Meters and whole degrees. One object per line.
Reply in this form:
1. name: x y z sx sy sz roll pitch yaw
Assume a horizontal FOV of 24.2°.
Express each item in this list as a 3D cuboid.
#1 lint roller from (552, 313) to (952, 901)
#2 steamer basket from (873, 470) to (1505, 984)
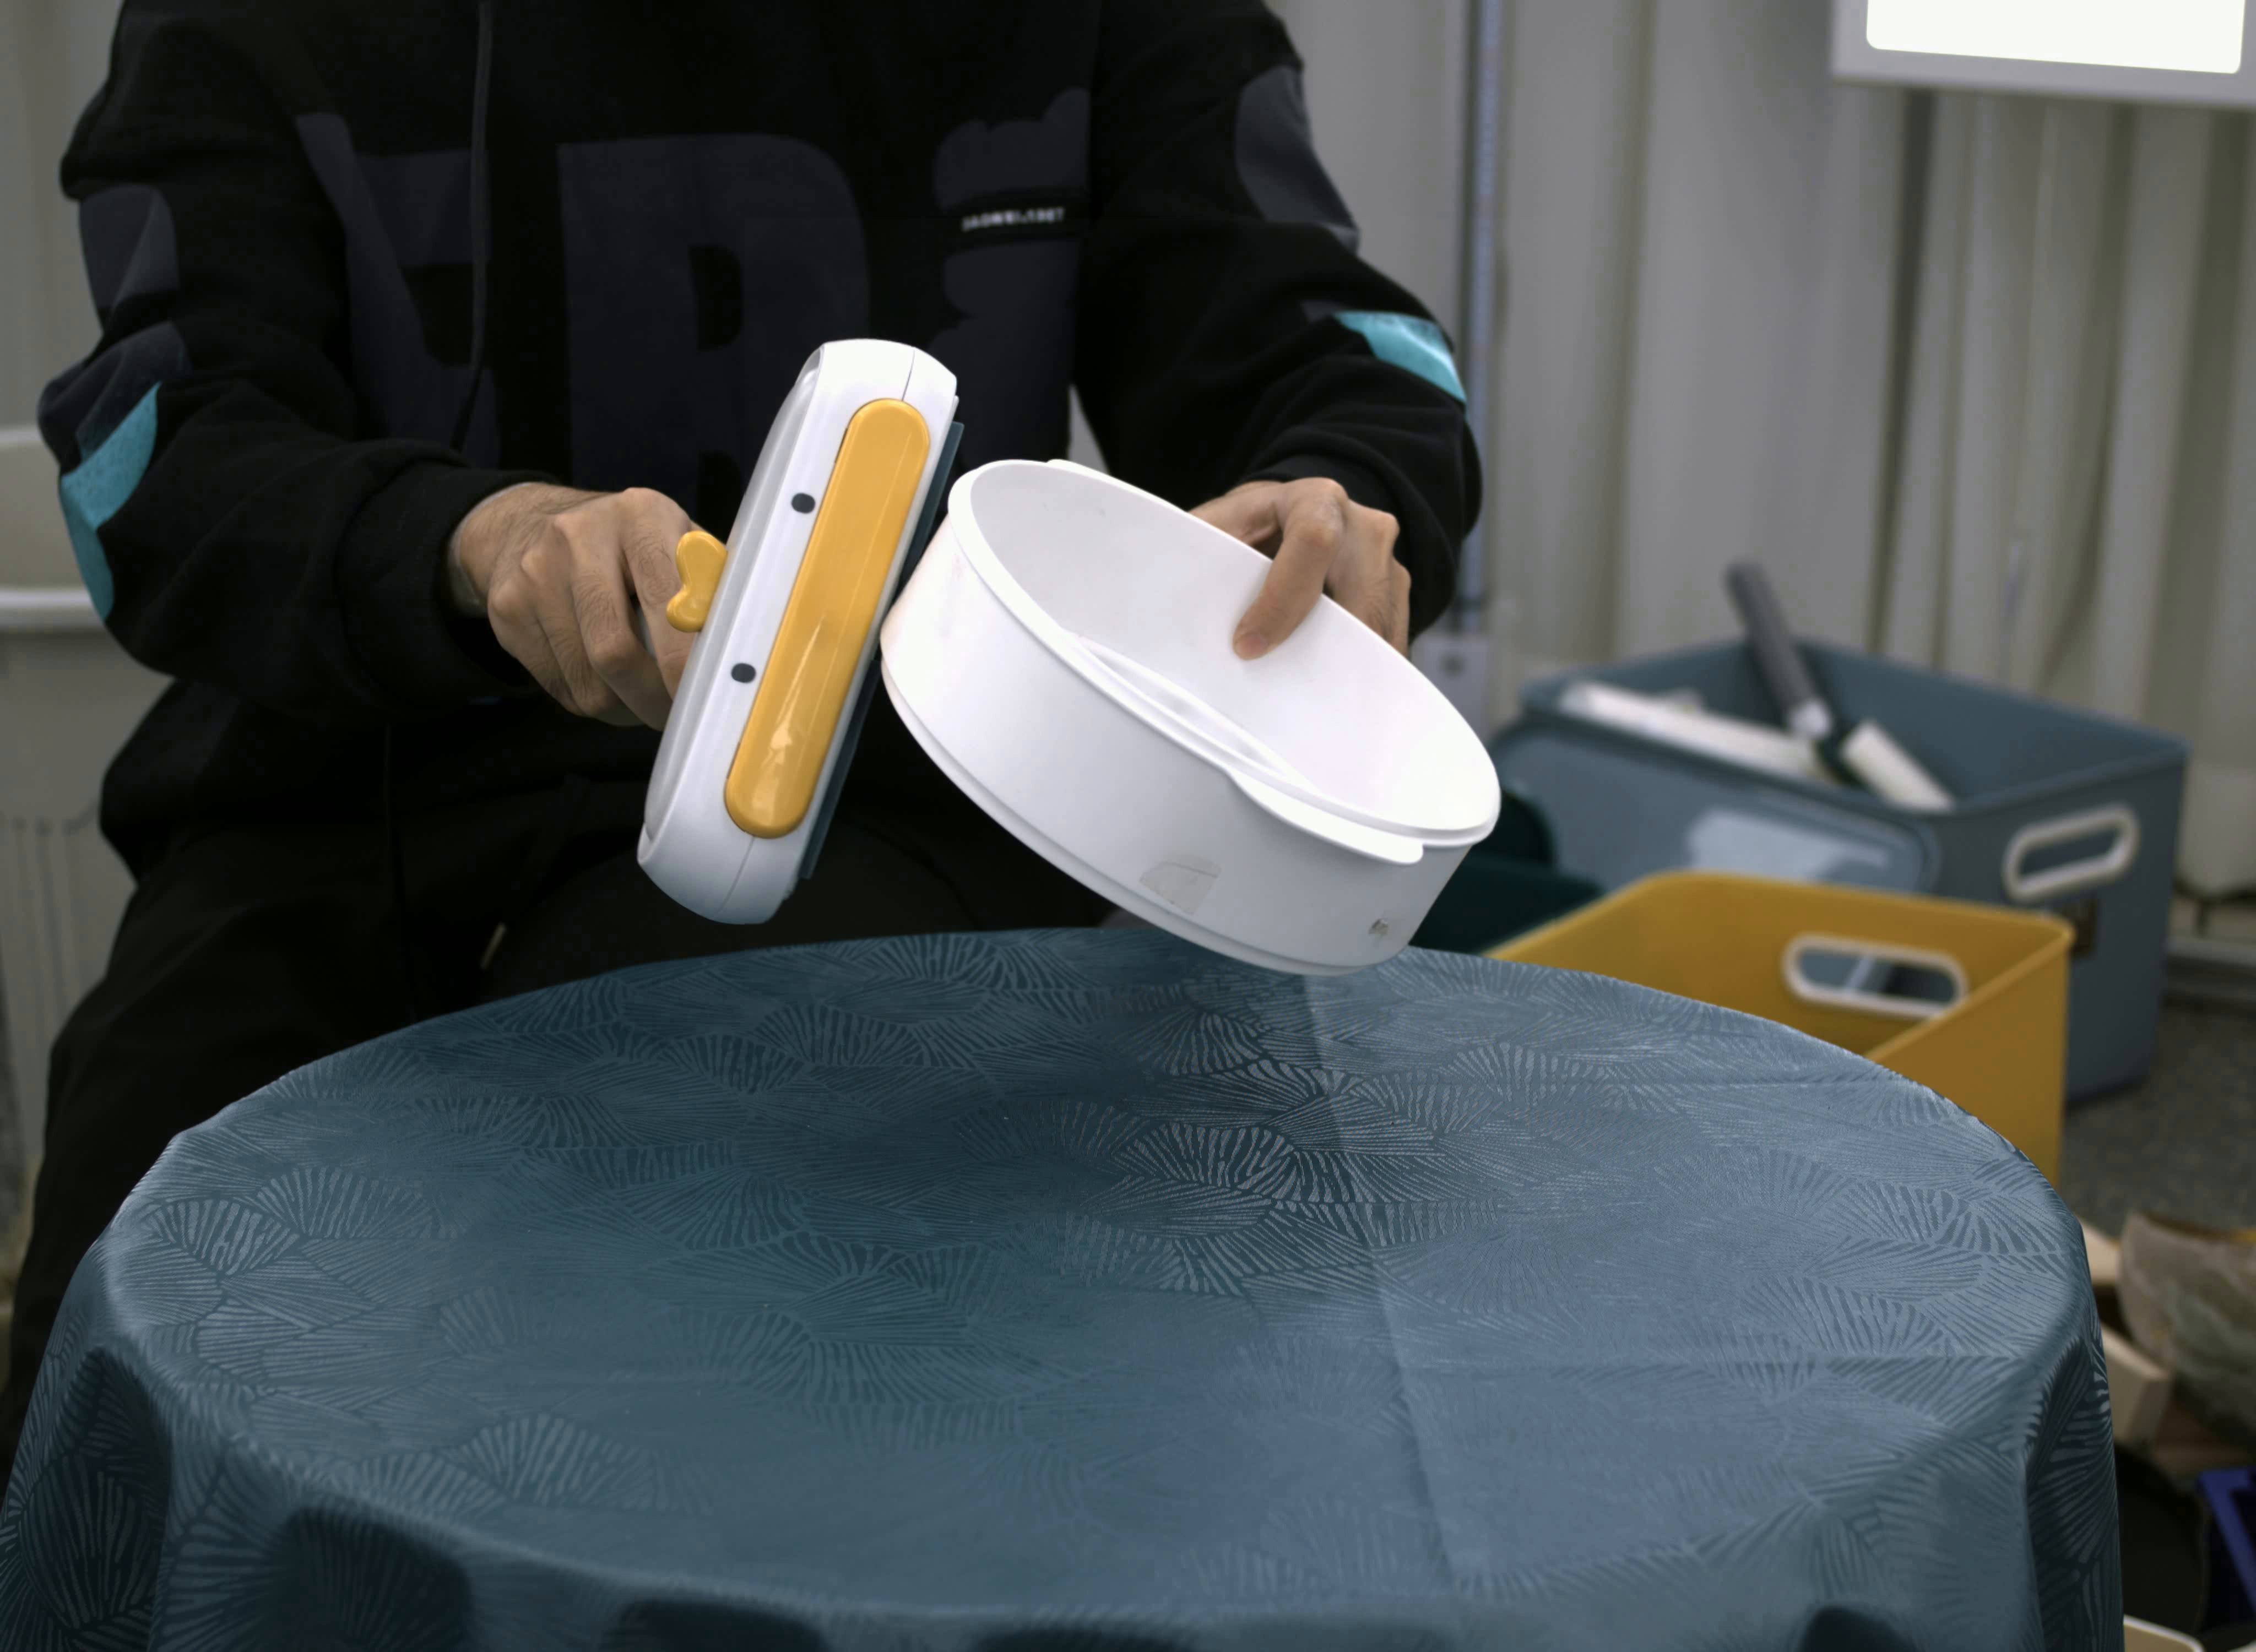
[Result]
1. lint roller: -0.132 -0.065 1.715 0.074 0.193 0.191 17 -13 -21
2. steamer basket: 0.018 -0.029 1.644 0.204 0.069 0.227 22 20 -31
